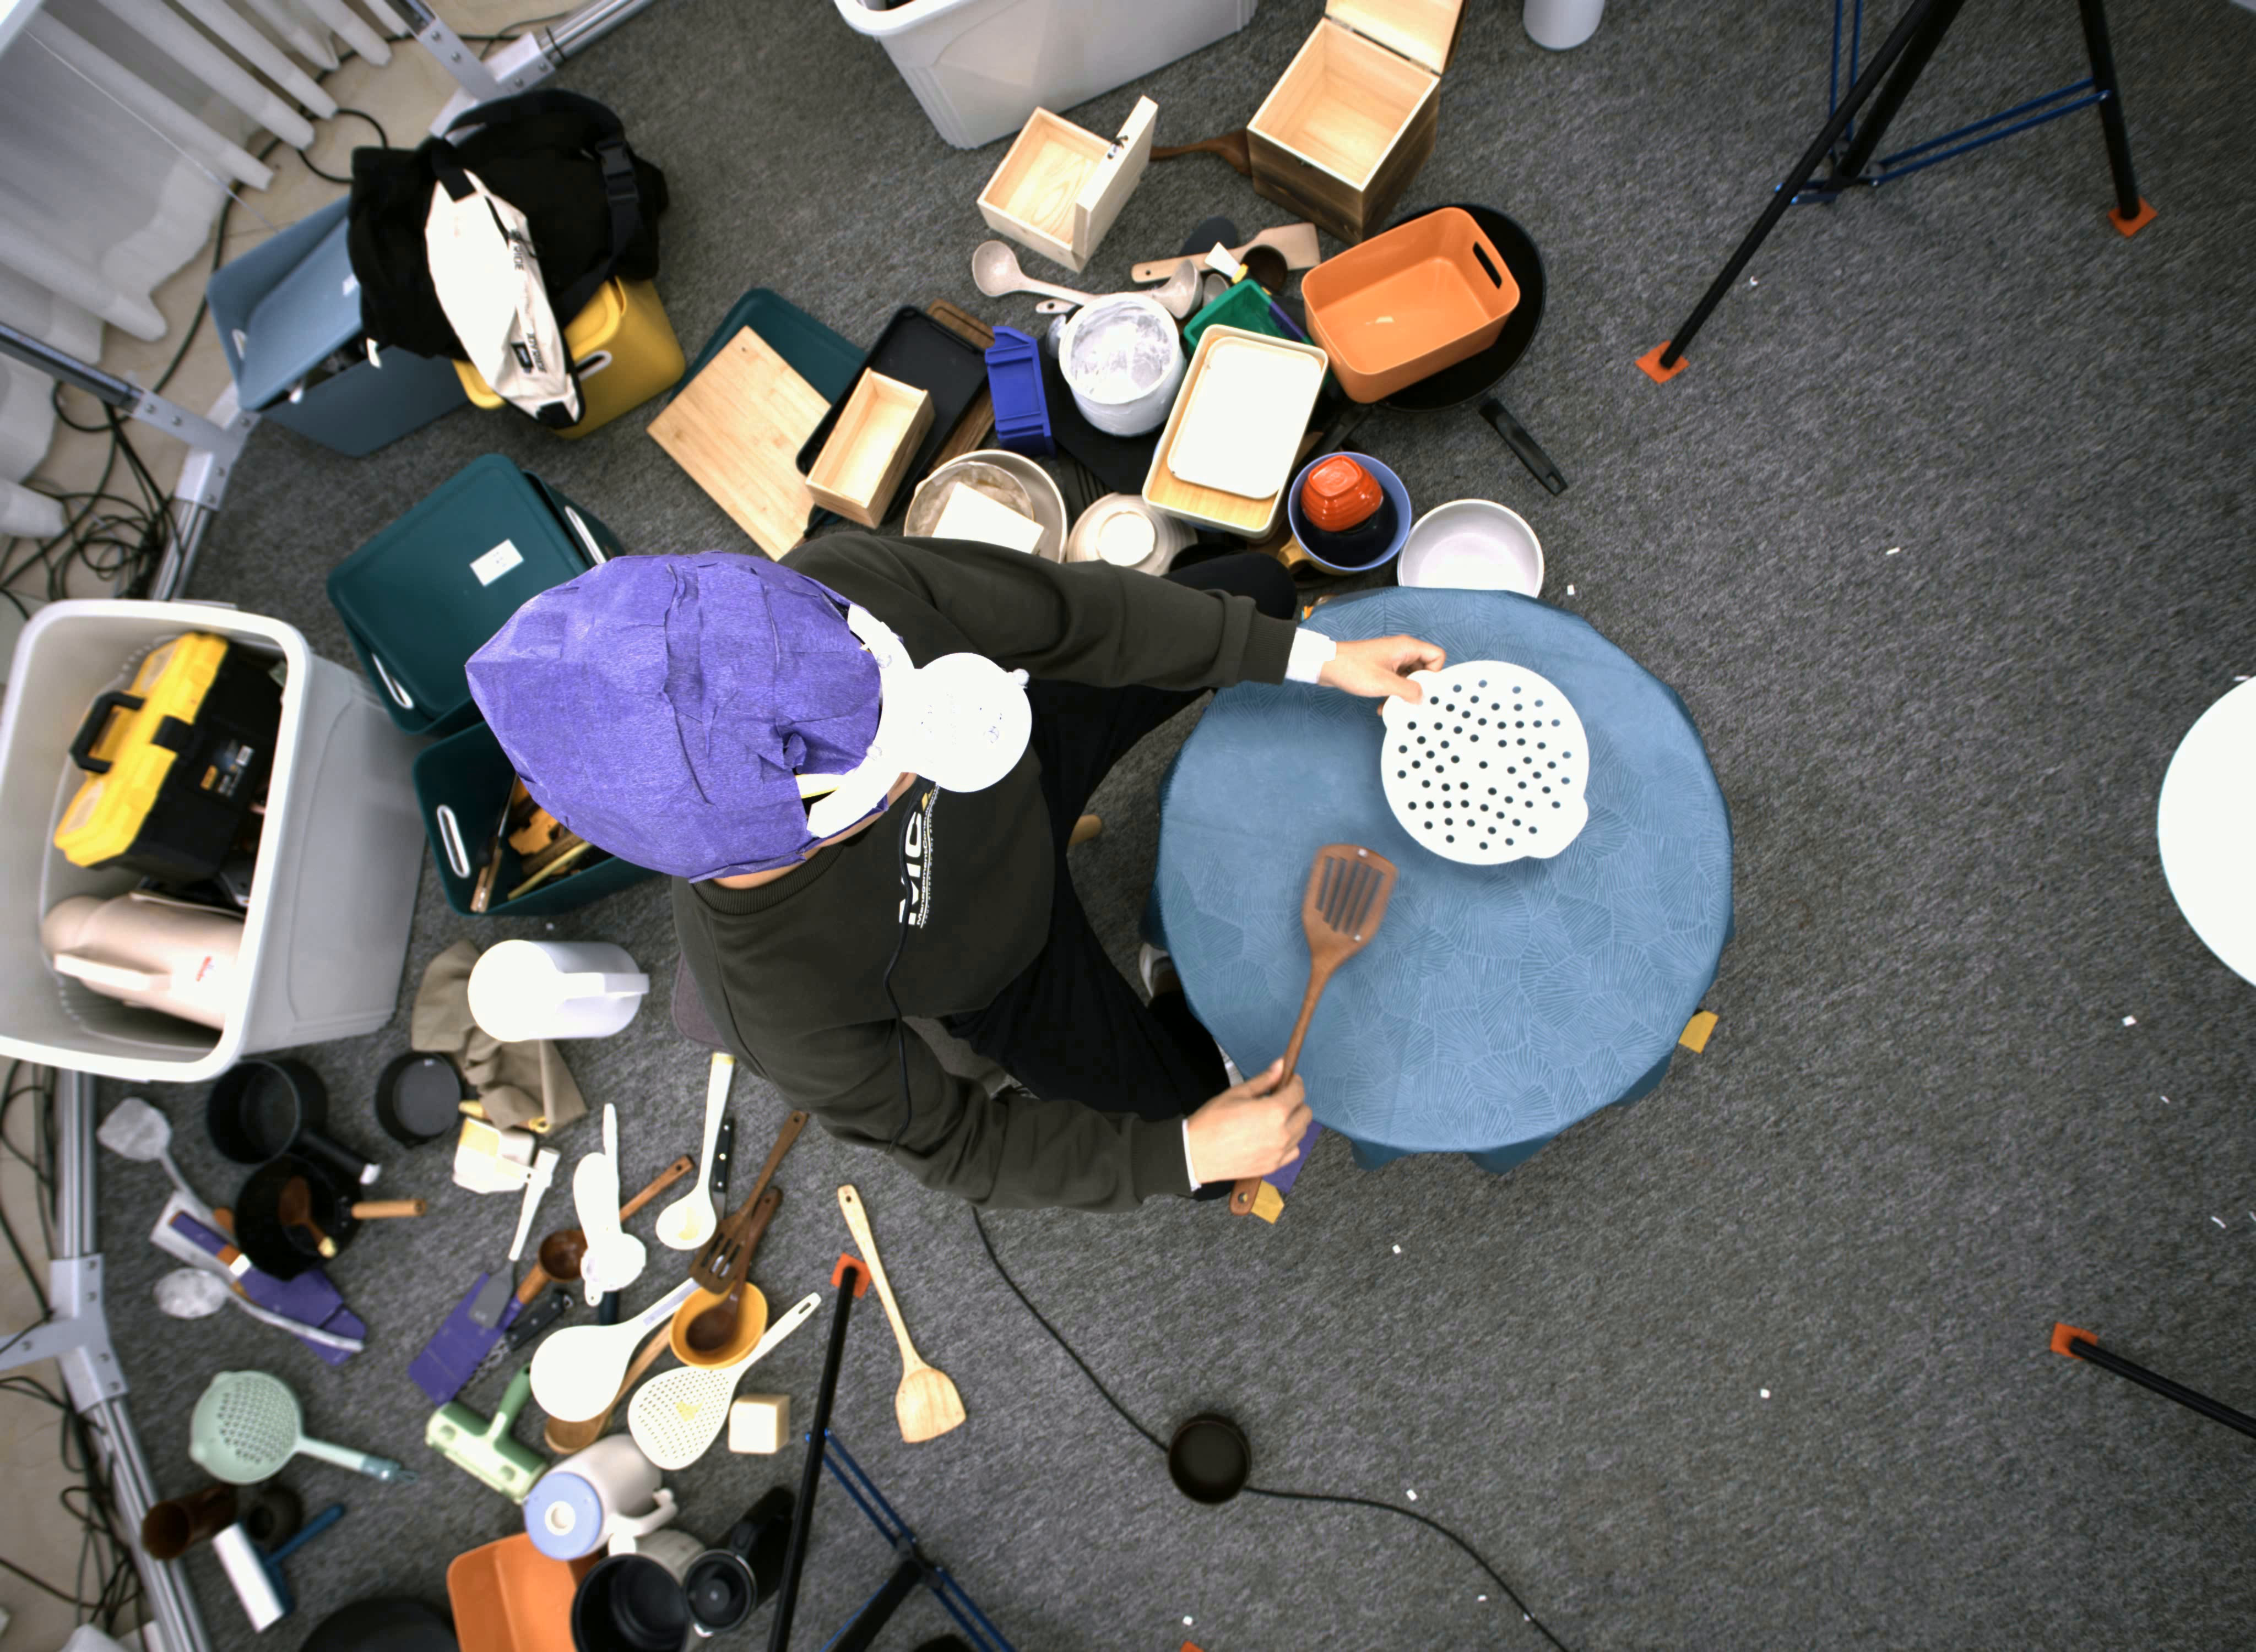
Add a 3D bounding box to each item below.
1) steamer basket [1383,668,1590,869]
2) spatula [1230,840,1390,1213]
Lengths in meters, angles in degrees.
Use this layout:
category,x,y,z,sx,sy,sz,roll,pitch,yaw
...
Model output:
category,x,y,z,sx,sy,sz,roll,pitch,yaw
steamer basket,0.363,-0.058,1.391,0.229,0.069,0.204,44,101,12
spatula,0.170,0.195,1.373,0.086,0.024,0.380,15,75,16
